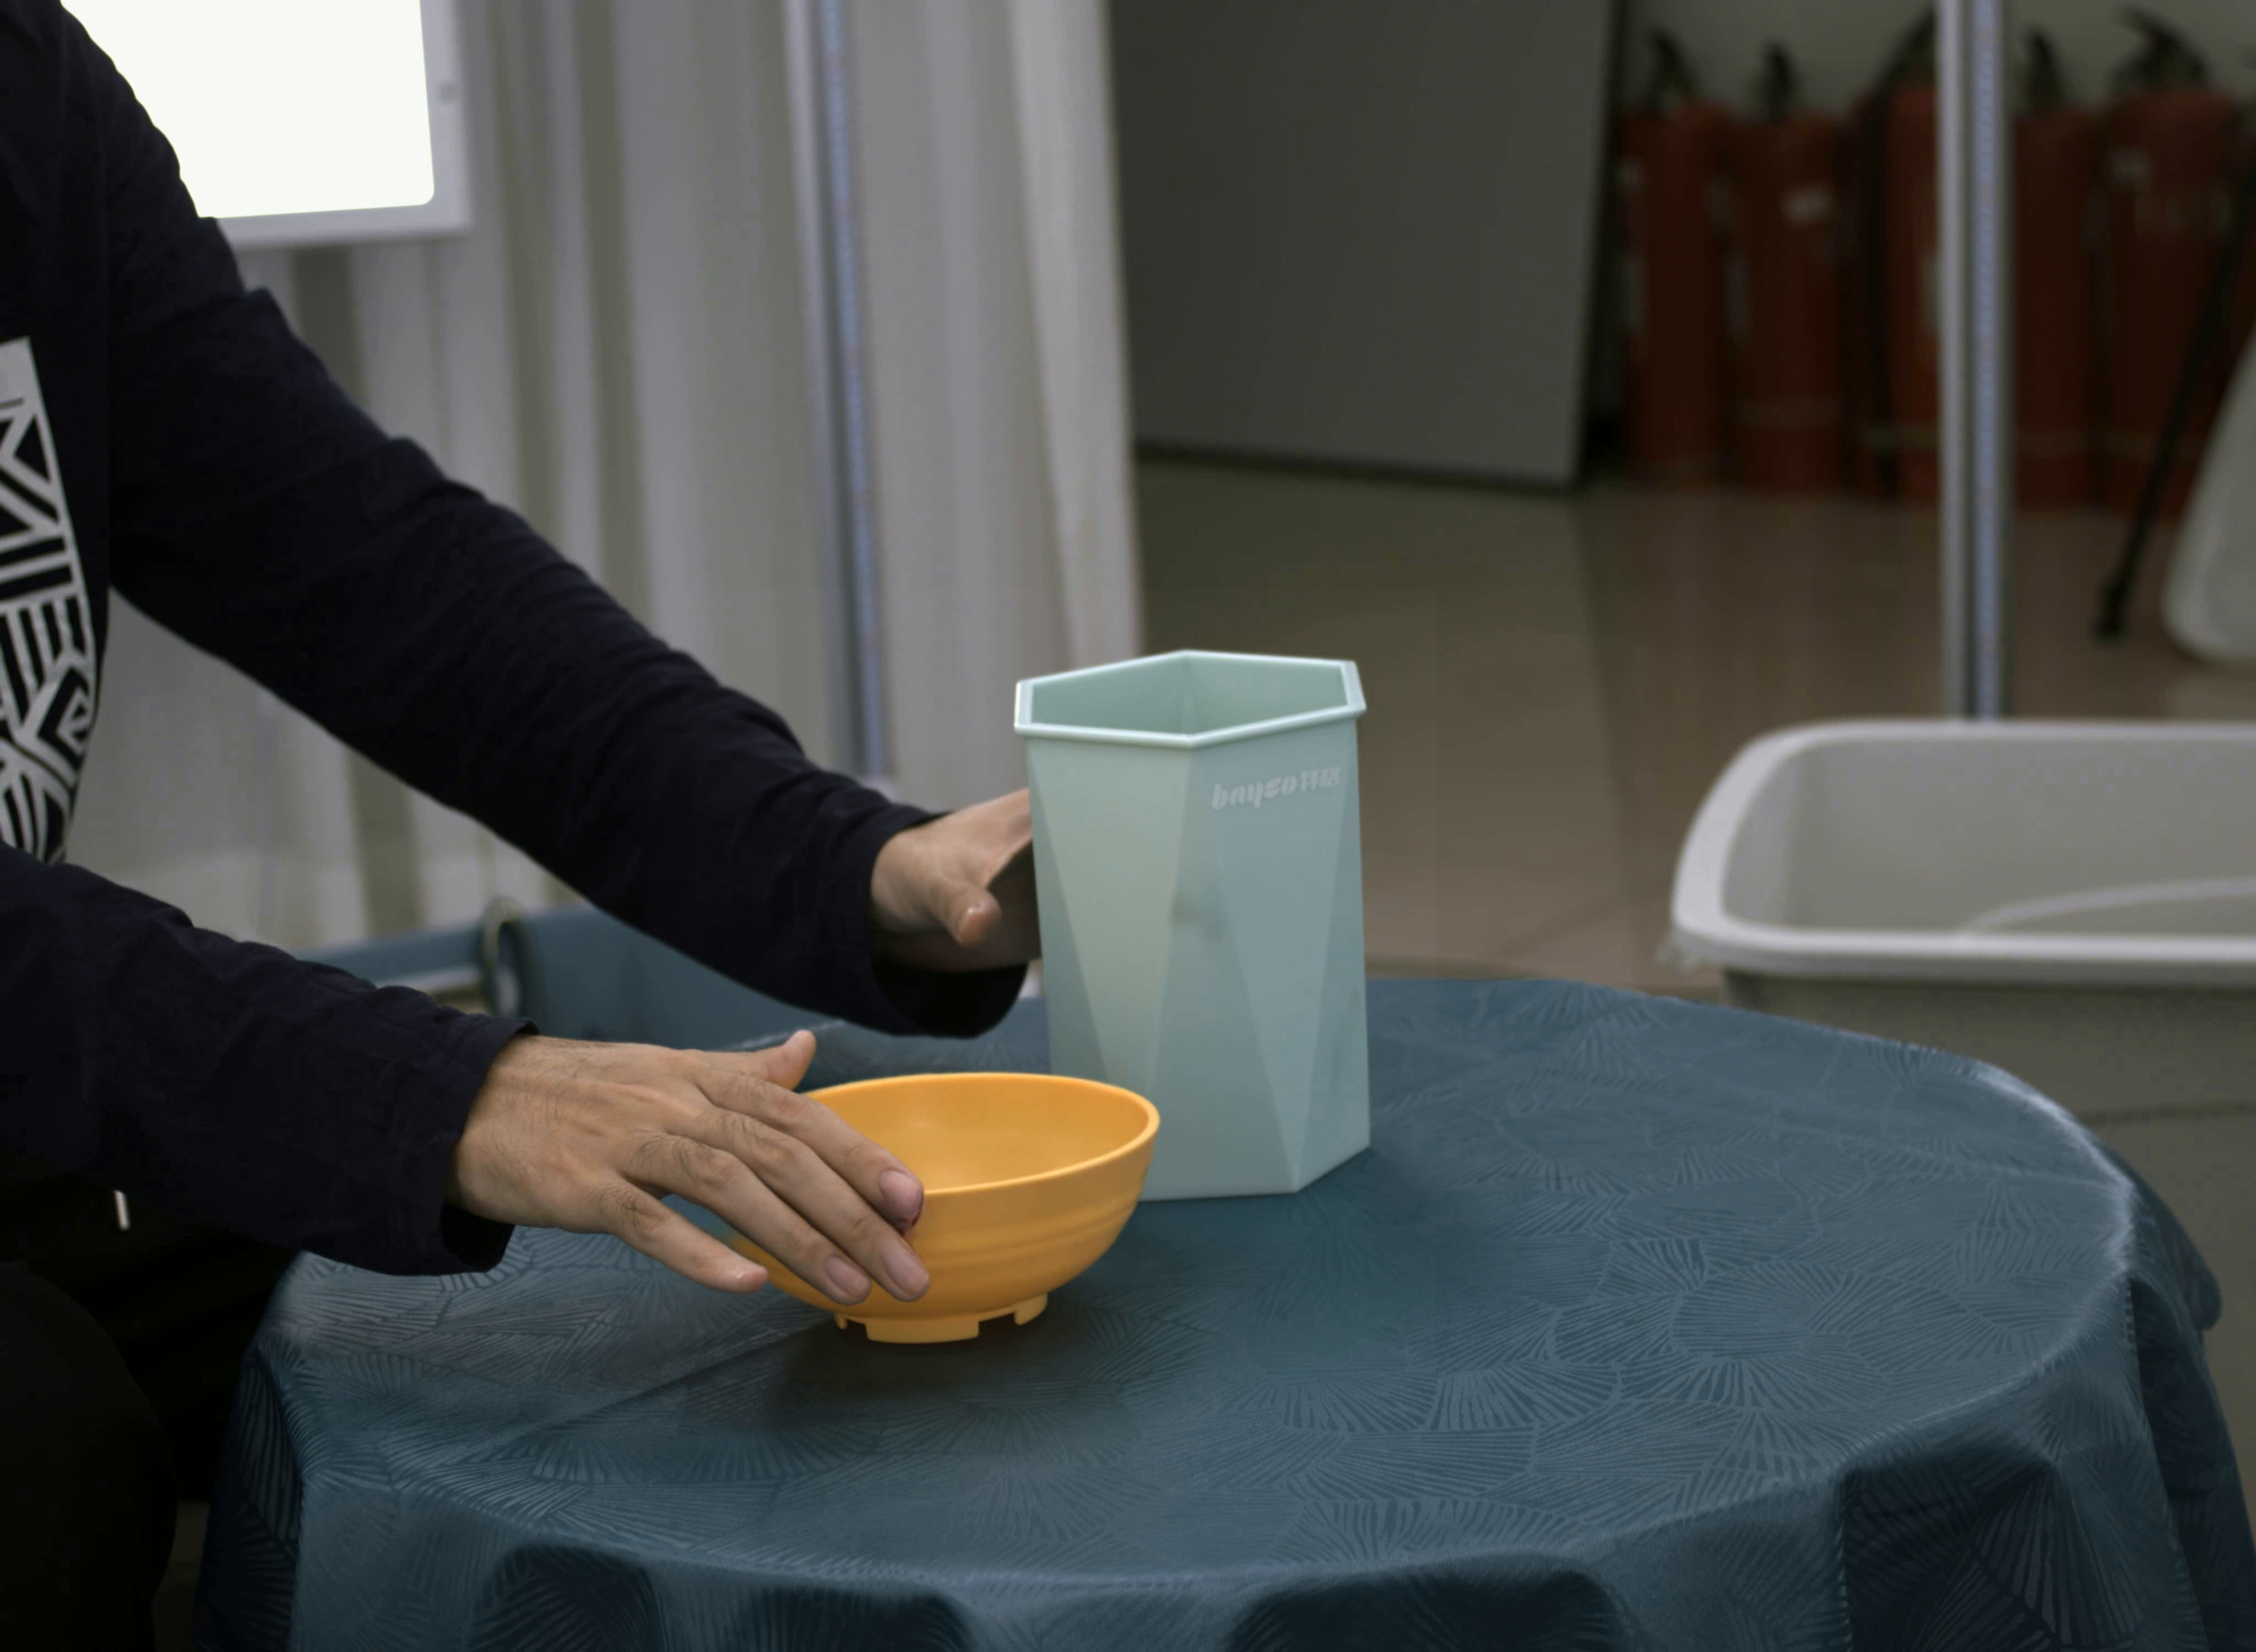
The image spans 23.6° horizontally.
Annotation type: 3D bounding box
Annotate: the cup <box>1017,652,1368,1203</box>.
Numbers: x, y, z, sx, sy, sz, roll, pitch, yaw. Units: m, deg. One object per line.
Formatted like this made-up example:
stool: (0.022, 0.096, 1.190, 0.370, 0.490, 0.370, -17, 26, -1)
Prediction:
cup: (0.025, 0.033, 1.785, 0.128, 0.165, 0.116, -10, 13, -31)

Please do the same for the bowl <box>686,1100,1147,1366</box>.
bowl: (-0.061, 0.128, 1.659, 0.143, 0.061, 0.145, -9, 8, 0)
